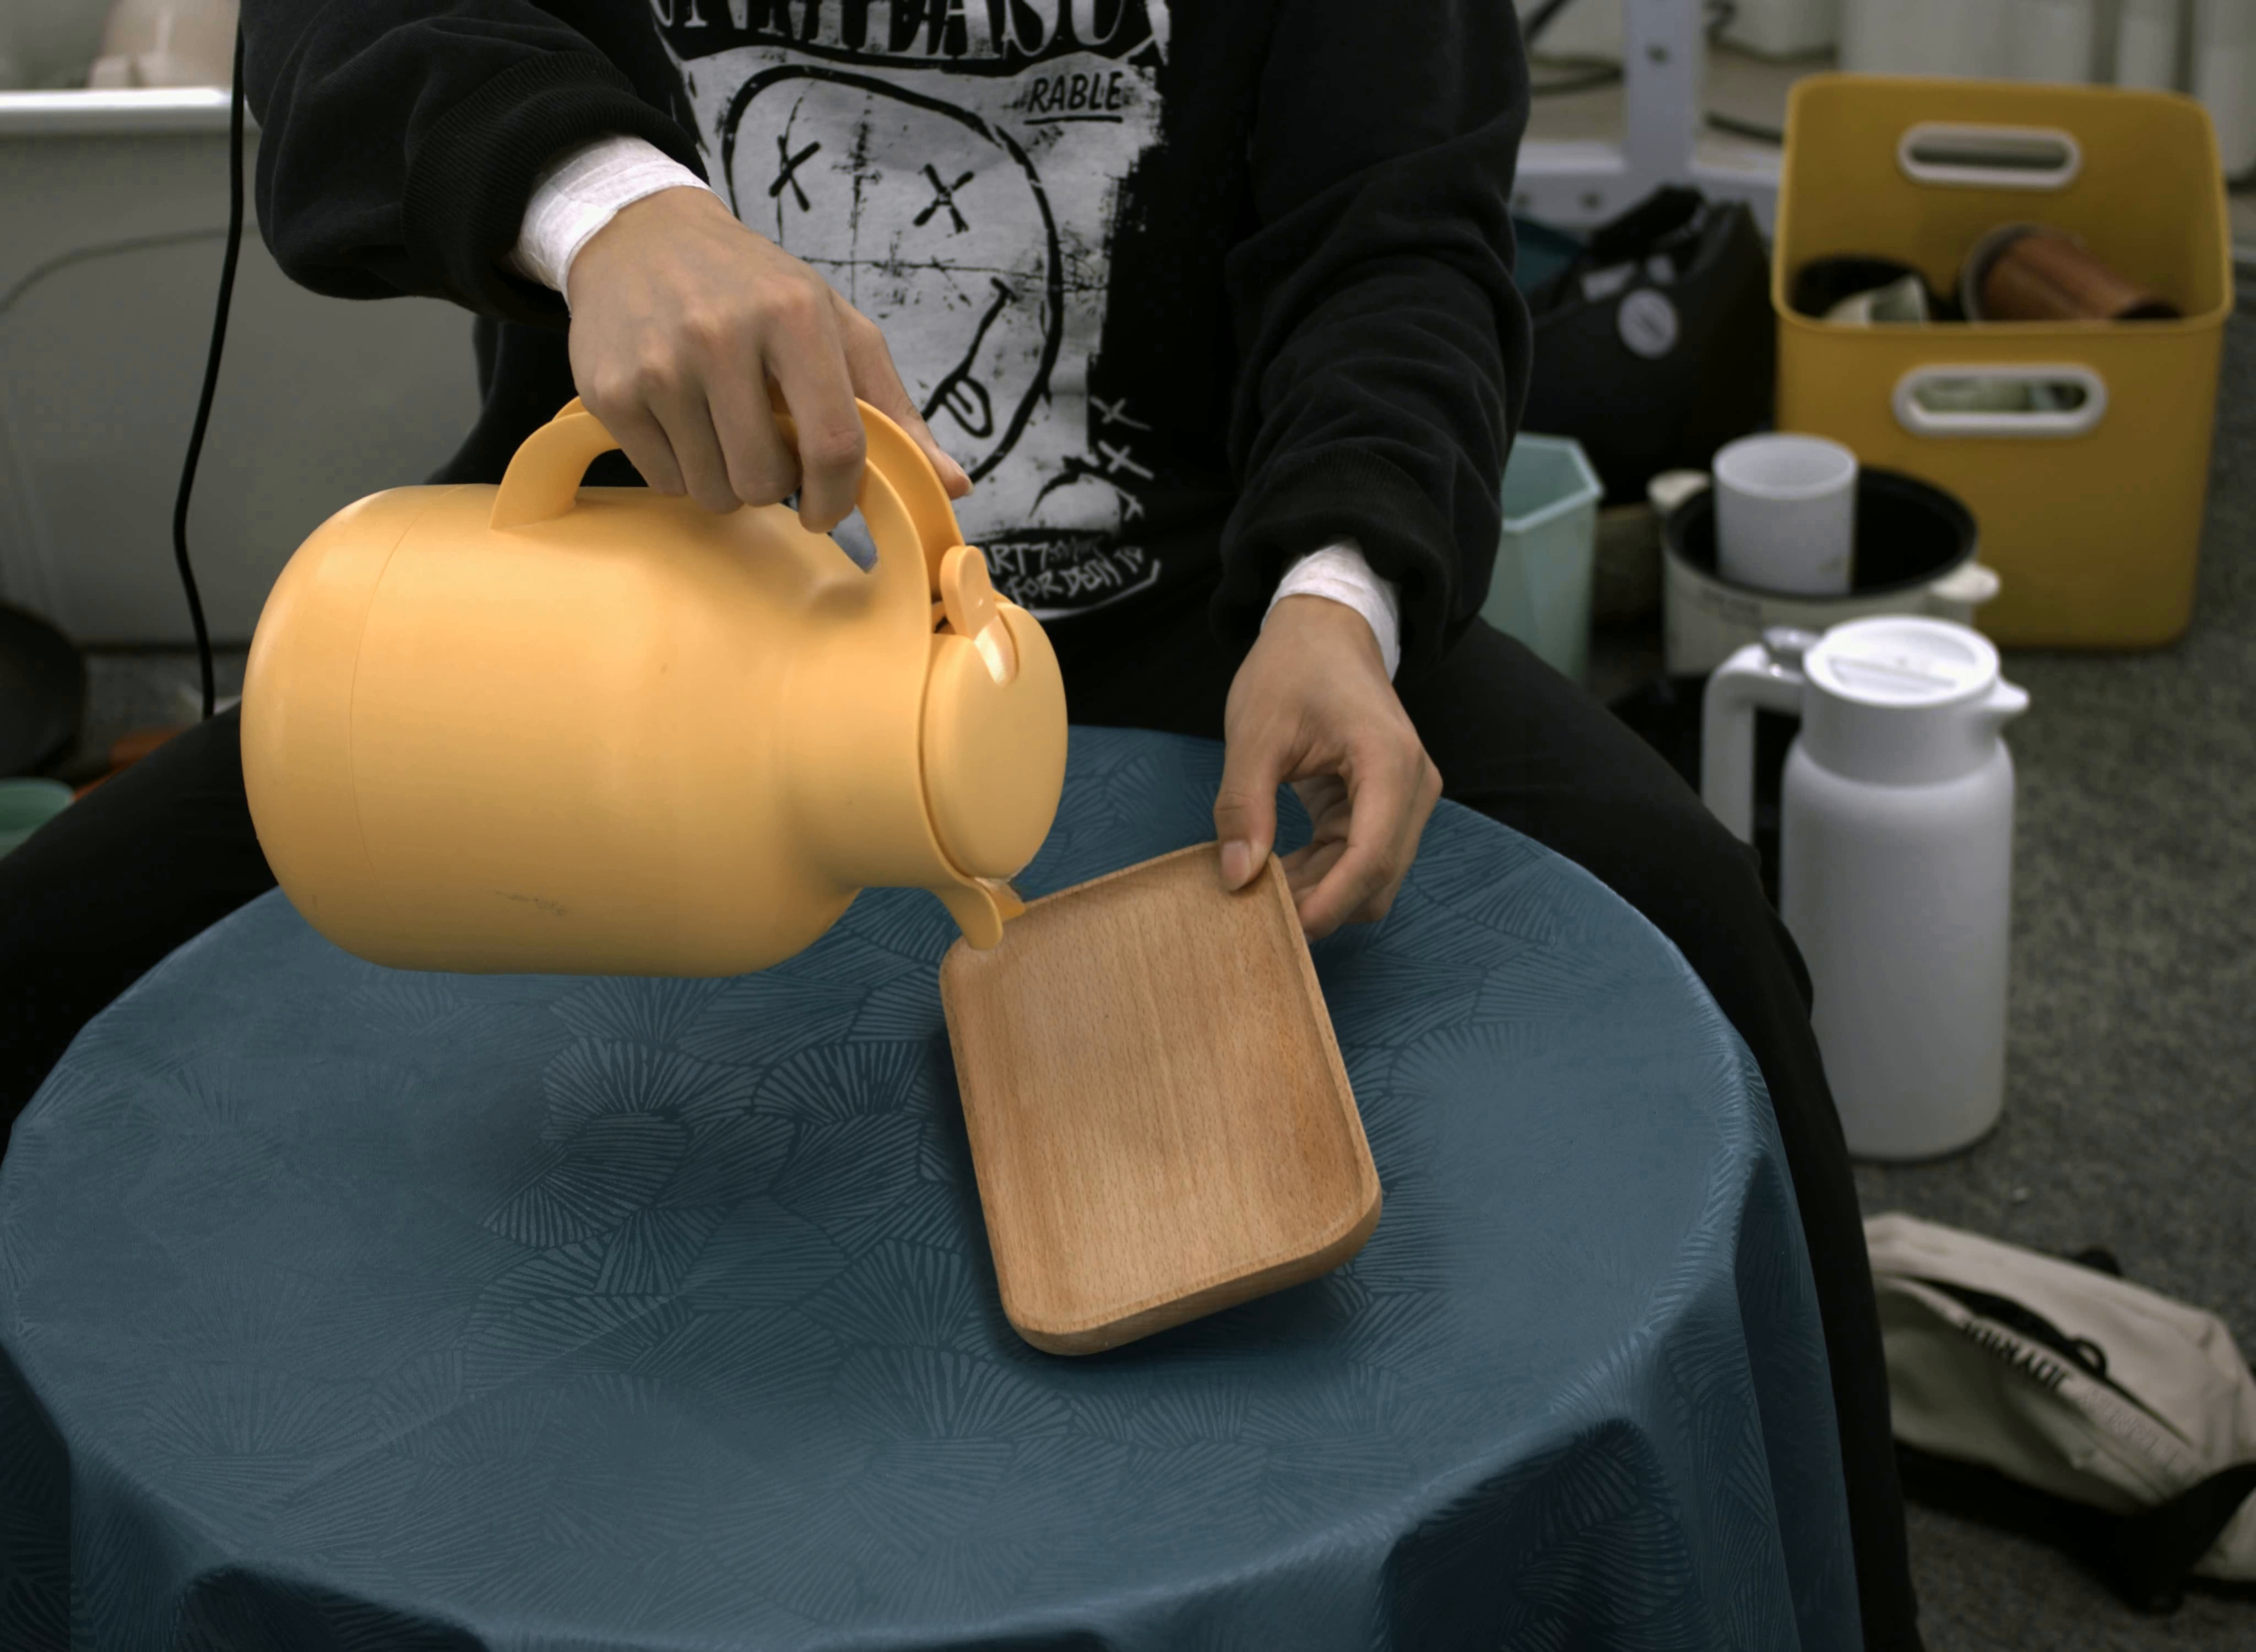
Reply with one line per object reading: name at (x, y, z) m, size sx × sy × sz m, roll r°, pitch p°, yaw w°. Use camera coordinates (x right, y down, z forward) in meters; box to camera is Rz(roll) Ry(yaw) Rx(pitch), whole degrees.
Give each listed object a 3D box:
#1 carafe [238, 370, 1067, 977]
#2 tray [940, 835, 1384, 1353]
carafe at (-0.152, -0.050, 1.828) m, size 0.258 × 0.201 × 0.166 m, roll 2°, pitch 24°, yaw 22°
tray at (0.009, 0.086, 1.864) m, size 0.130 × 0.022 × 0.254 m, roll -16°, pitch 30°, yaw 2°
